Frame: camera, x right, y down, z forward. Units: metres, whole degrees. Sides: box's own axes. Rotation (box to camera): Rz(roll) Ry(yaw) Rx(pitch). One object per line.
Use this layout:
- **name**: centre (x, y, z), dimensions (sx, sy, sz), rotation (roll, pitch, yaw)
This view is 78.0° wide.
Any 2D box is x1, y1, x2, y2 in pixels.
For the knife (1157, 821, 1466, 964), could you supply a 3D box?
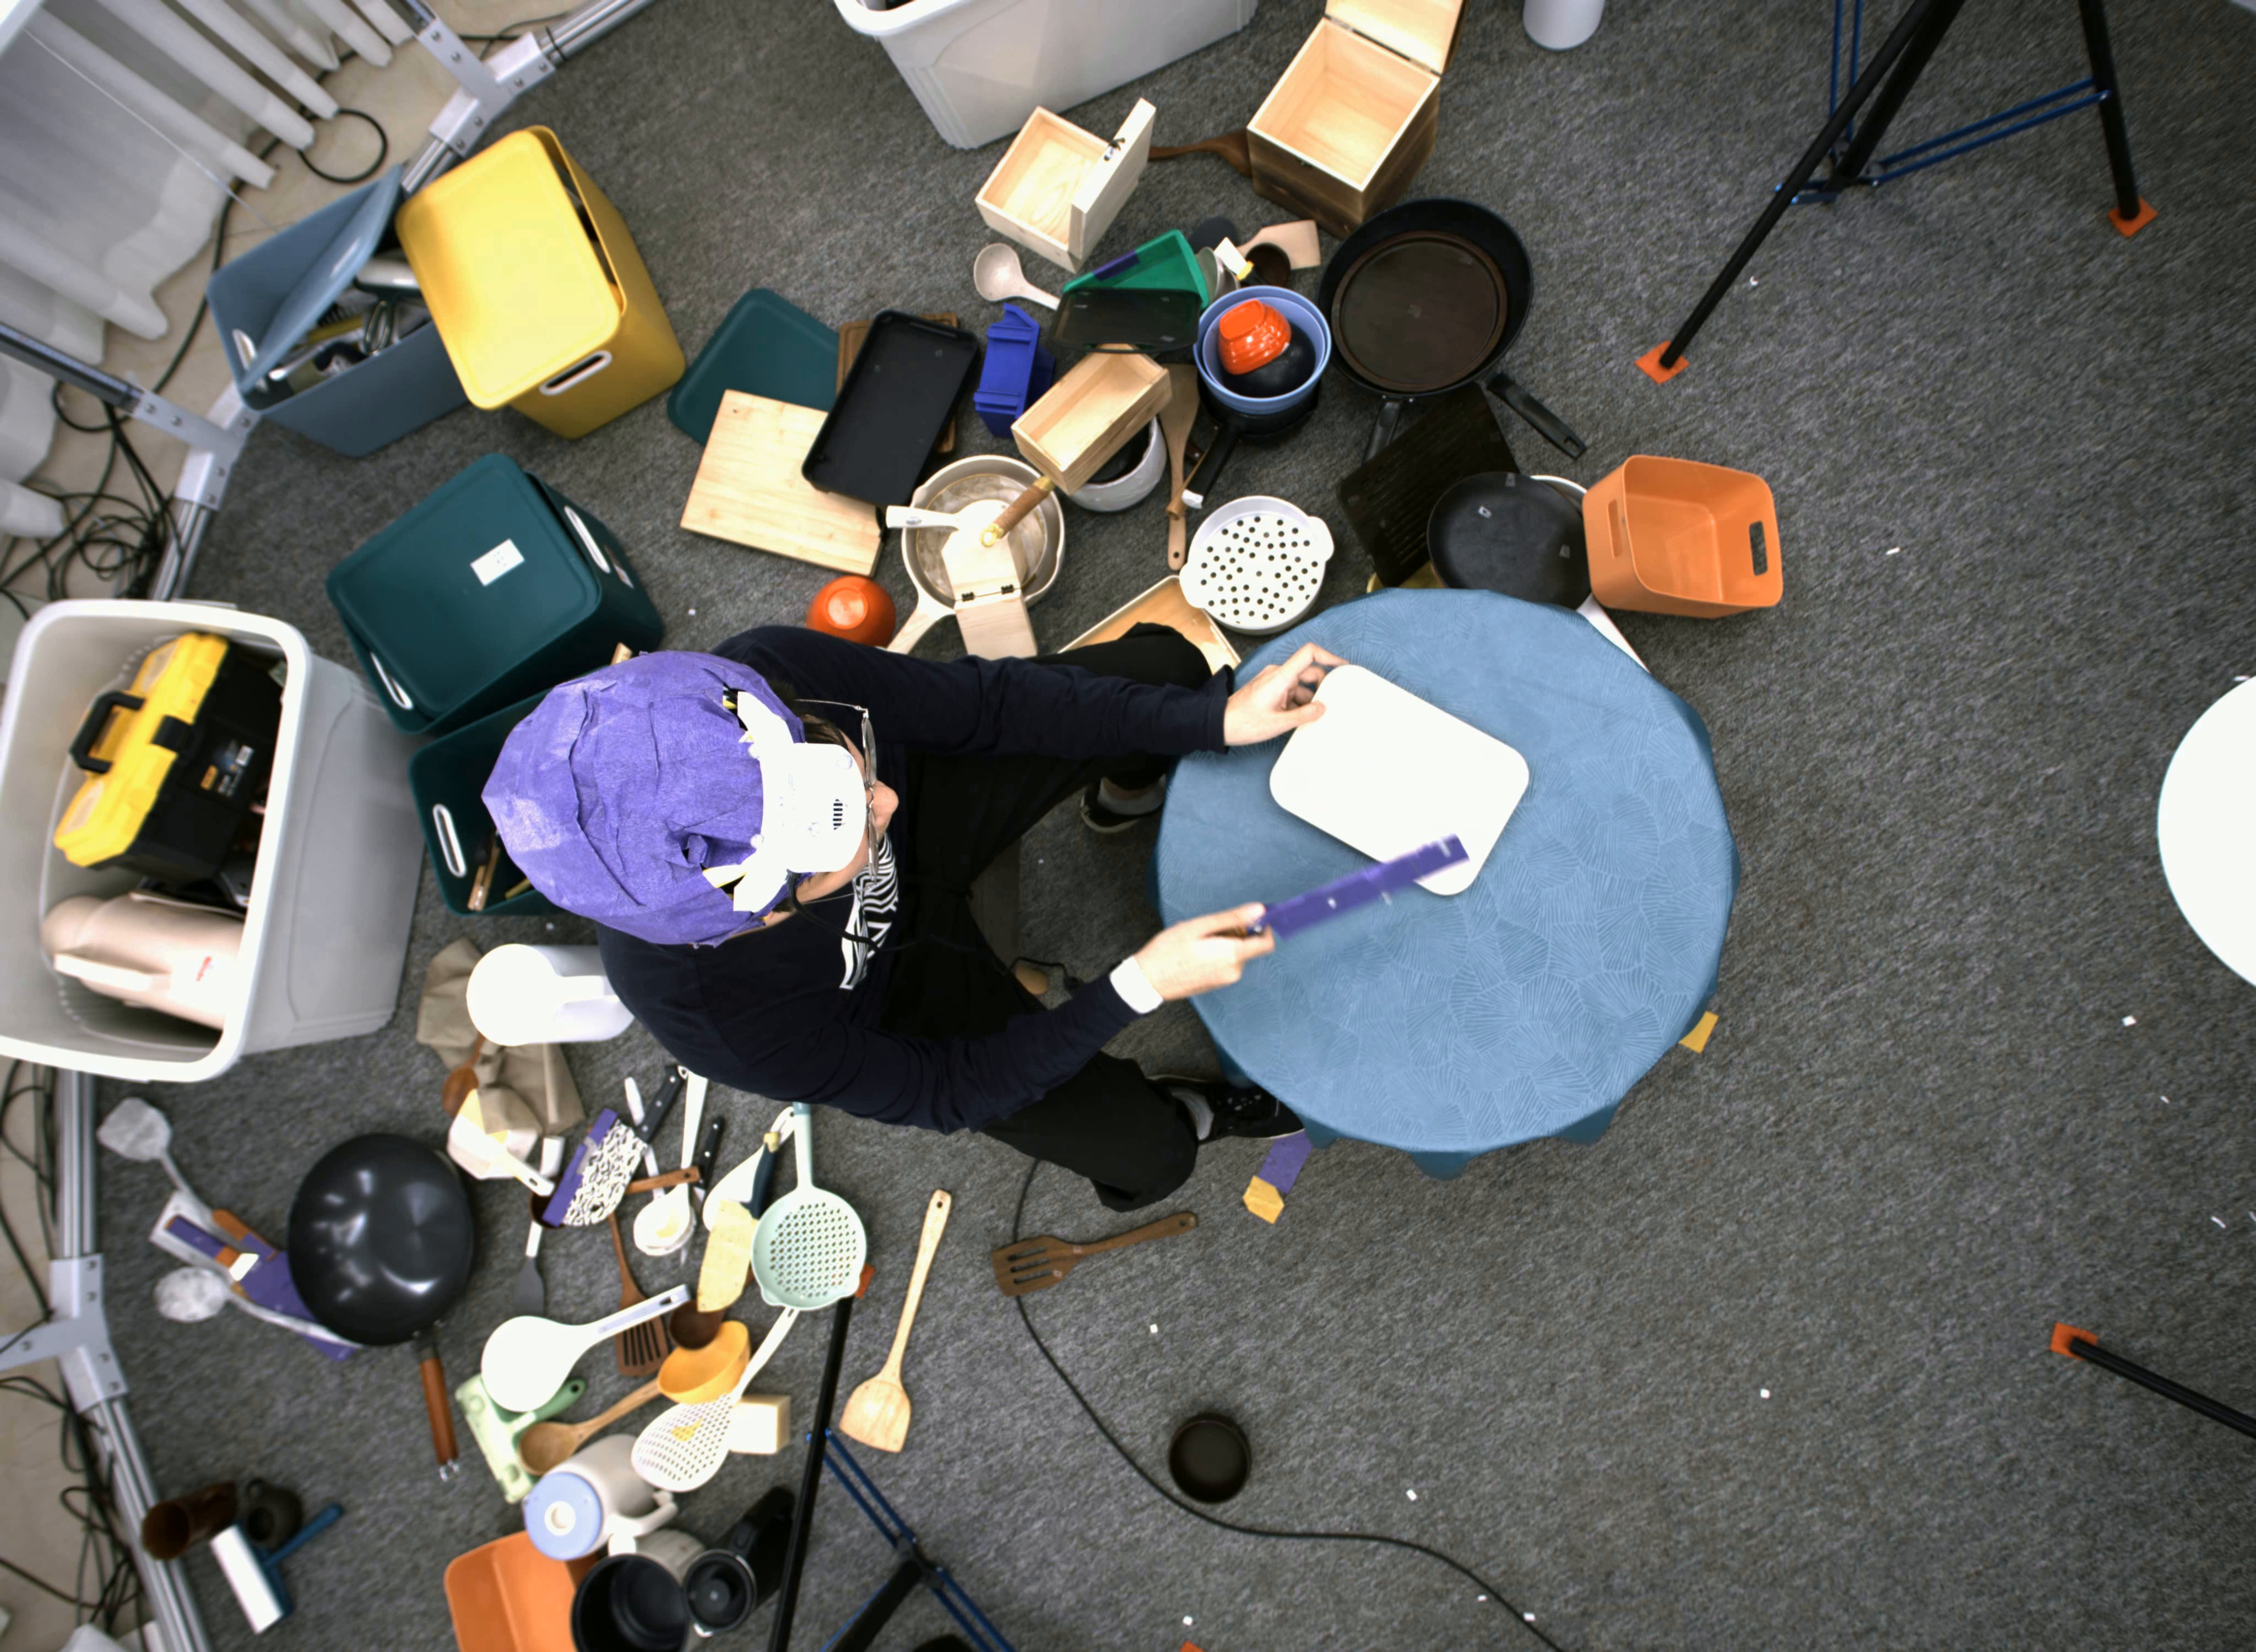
- **knife**: centre (0.185, 0.074, 1.374), dimensions (0.318, 0.104, 0.031), rotation (-23, 65, 16)

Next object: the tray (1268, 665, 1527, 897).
- **tray**: centre (0.282, -0.049, 1.447), dimensions (0.239, 0.017, 0.172), rotation (31, 96, 7)
